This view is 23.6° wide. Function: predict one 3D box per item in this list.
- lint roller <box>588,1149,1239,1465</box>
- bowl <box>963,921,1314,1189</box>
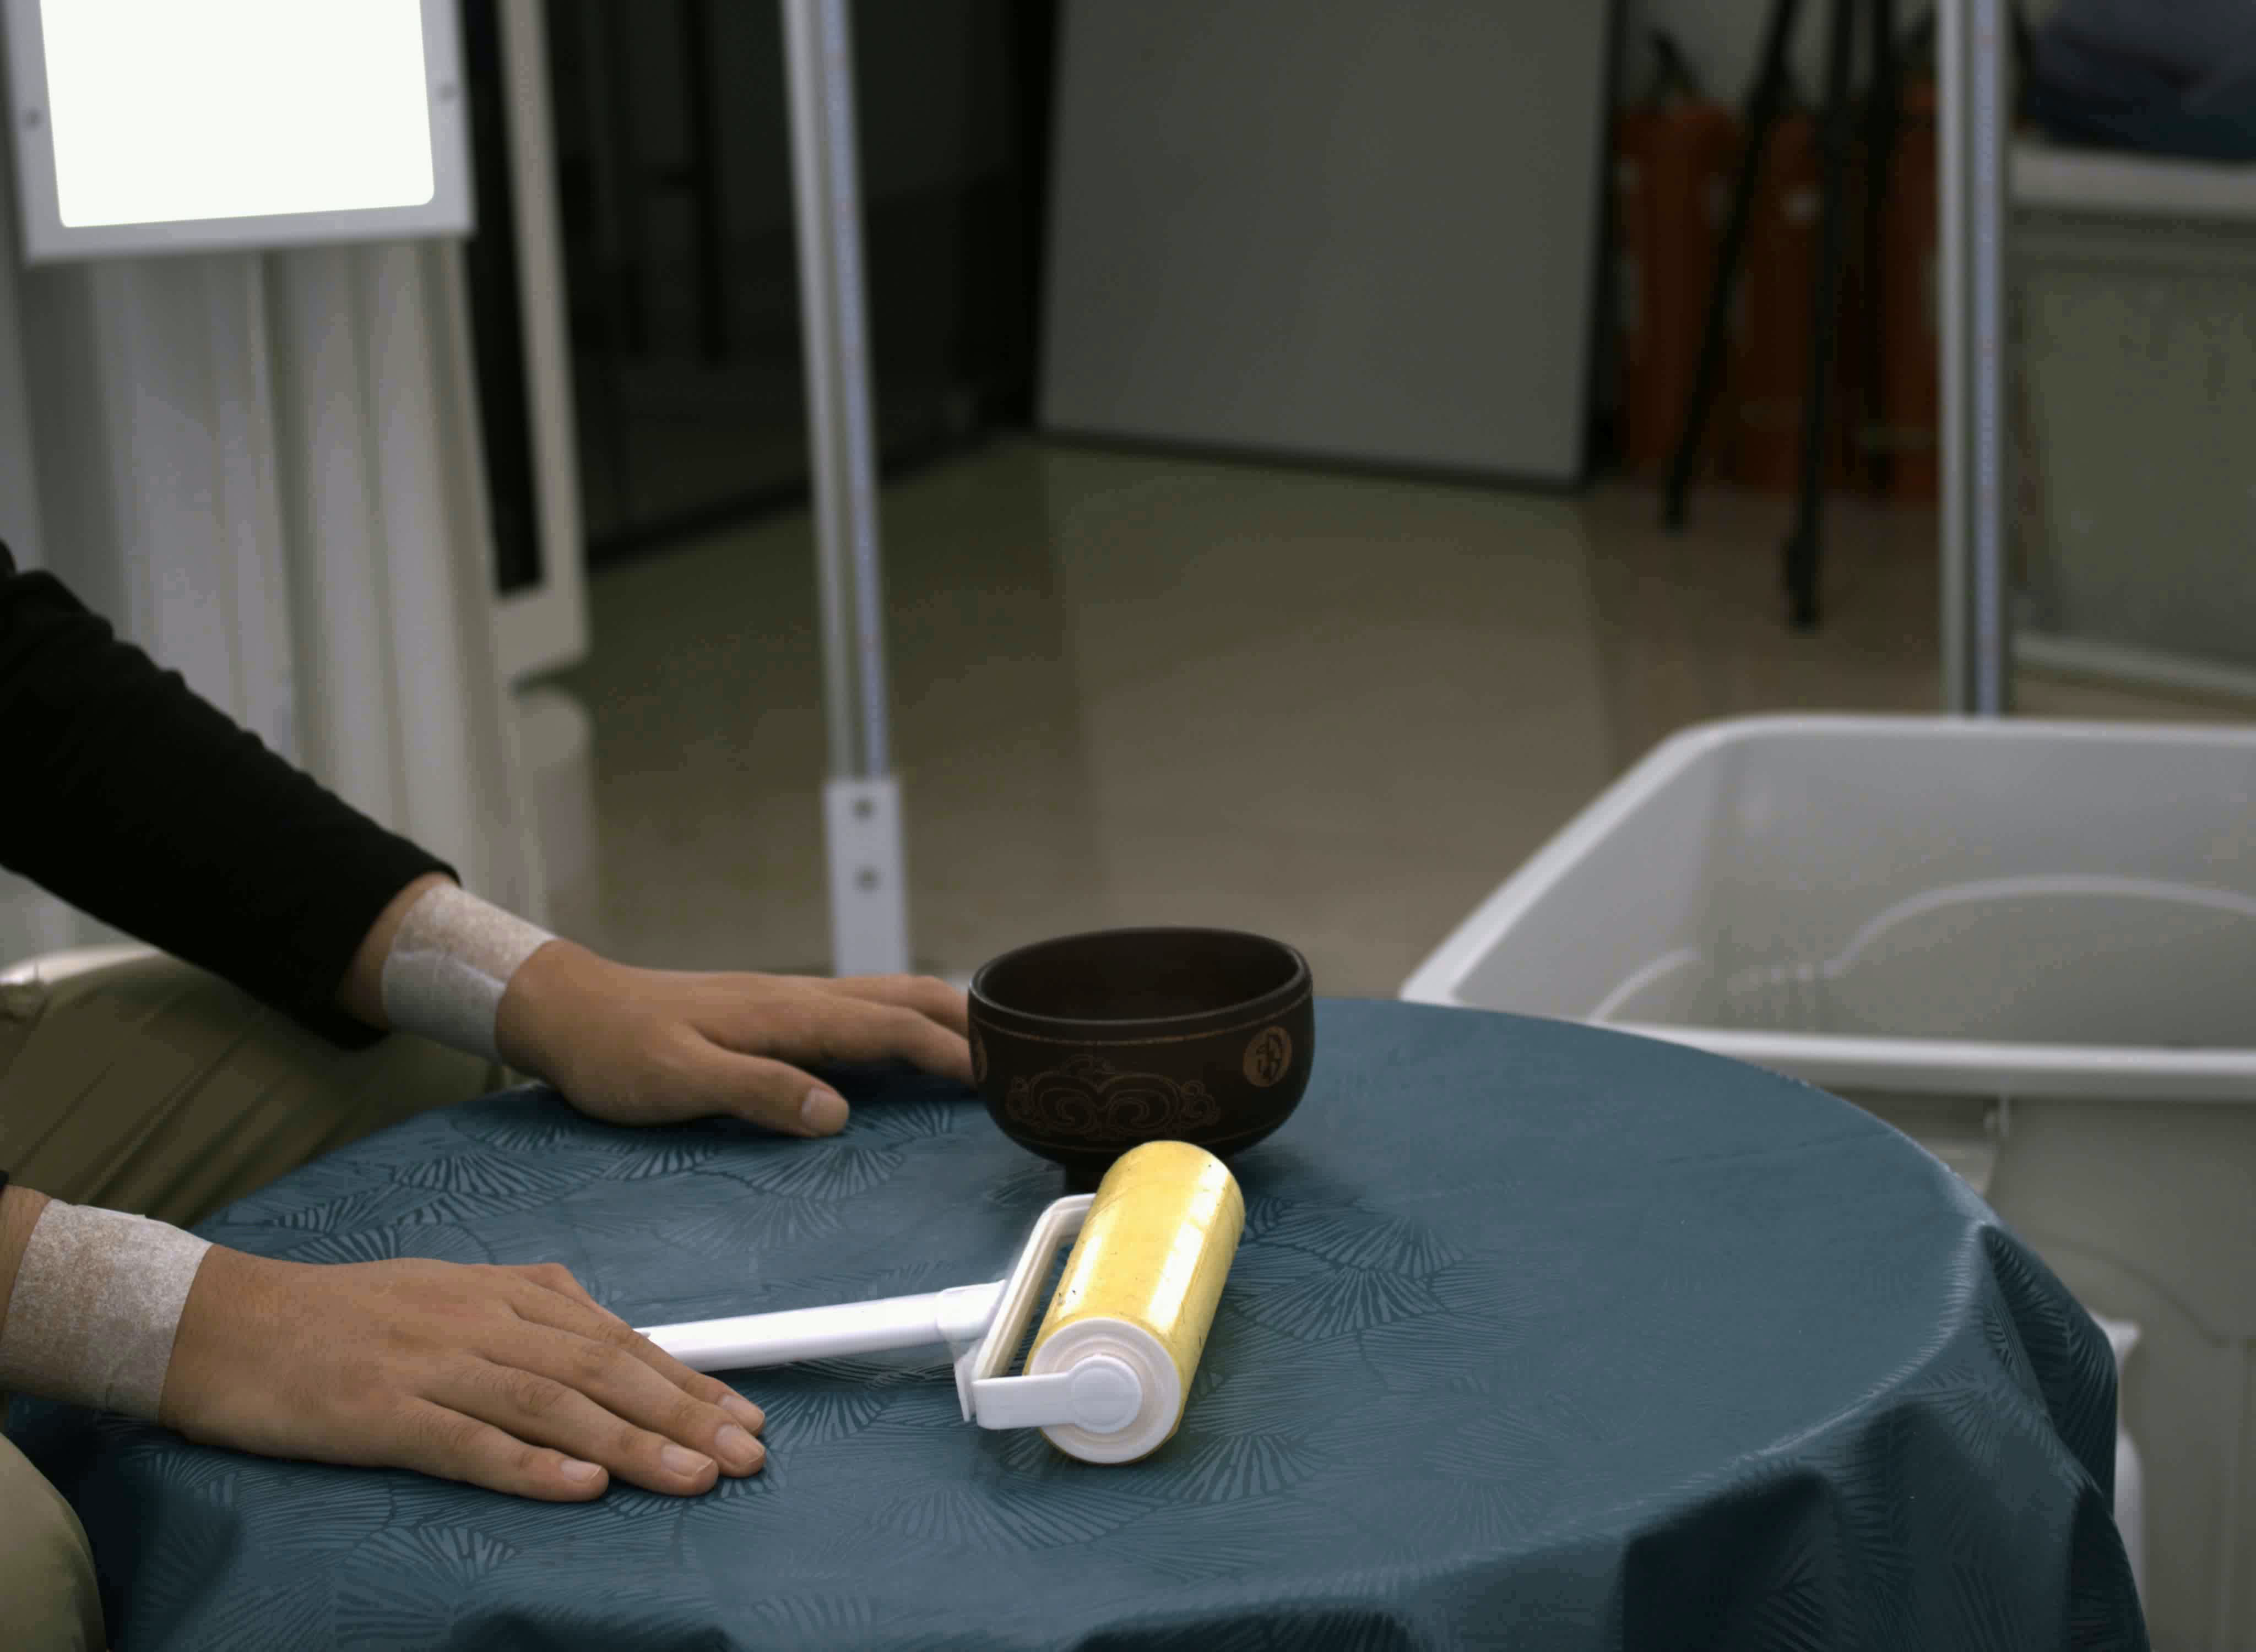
[{"bbox_3d":[-0.067,0.140,1.604,0.190,0.052,0.174,2,14,6],"label":"lint roller"},{"bbox_3d":[0.004,0.079,1.782,0.116,0.070,0.118,-3,13,0],"label":"bowl"}]
